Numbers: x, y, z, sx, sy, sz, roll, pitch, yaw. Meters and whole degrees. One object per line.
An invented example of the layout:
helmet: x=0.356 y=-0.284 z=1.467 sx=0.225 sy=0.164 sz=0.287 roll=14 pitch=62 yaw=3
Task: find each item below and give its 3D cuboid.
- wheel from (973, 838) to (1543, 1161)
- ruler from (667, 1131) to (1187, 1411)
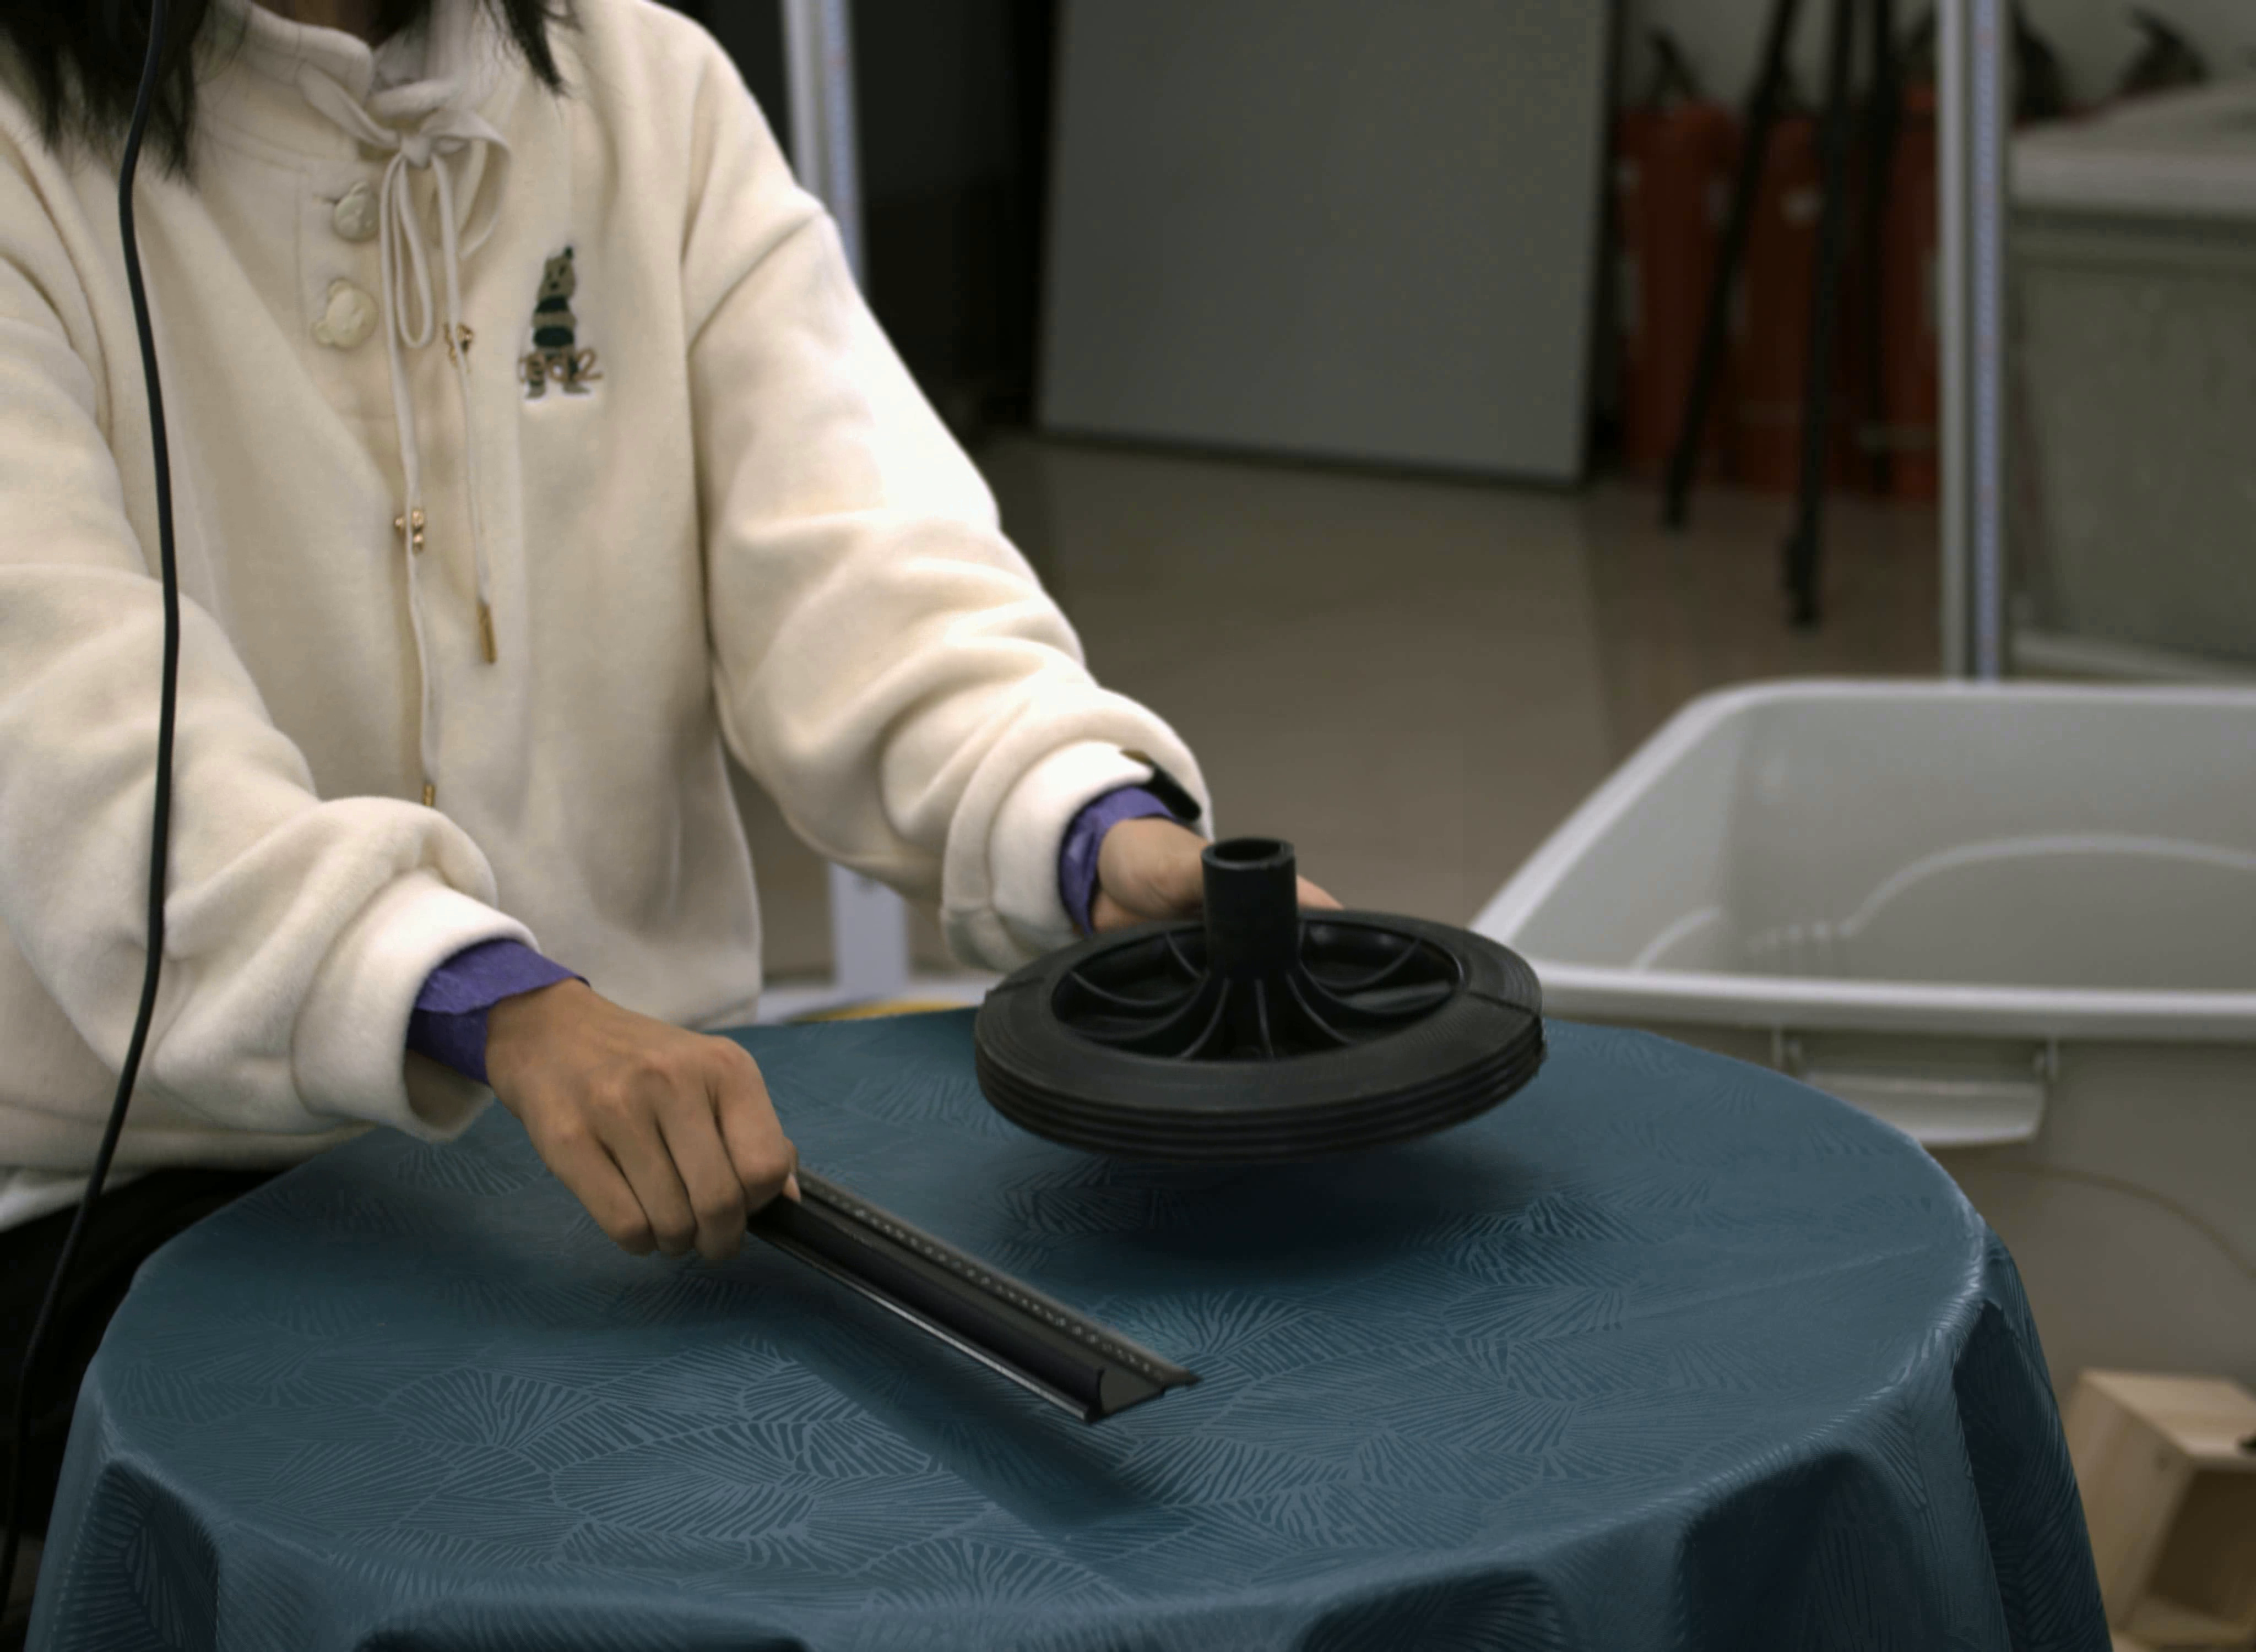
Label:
wheel: x=0.041 y=0.046 z=1.745 sx=0.186 sy=0.080 sz=0.189 roll=-17 pitch=21 yaw=-33
ruler: x=-0.066 y=0.126 z=1.623 sx=0.038 sy=0.017 sz=0.316 roll=-15 pitch=15 yaw=-23
